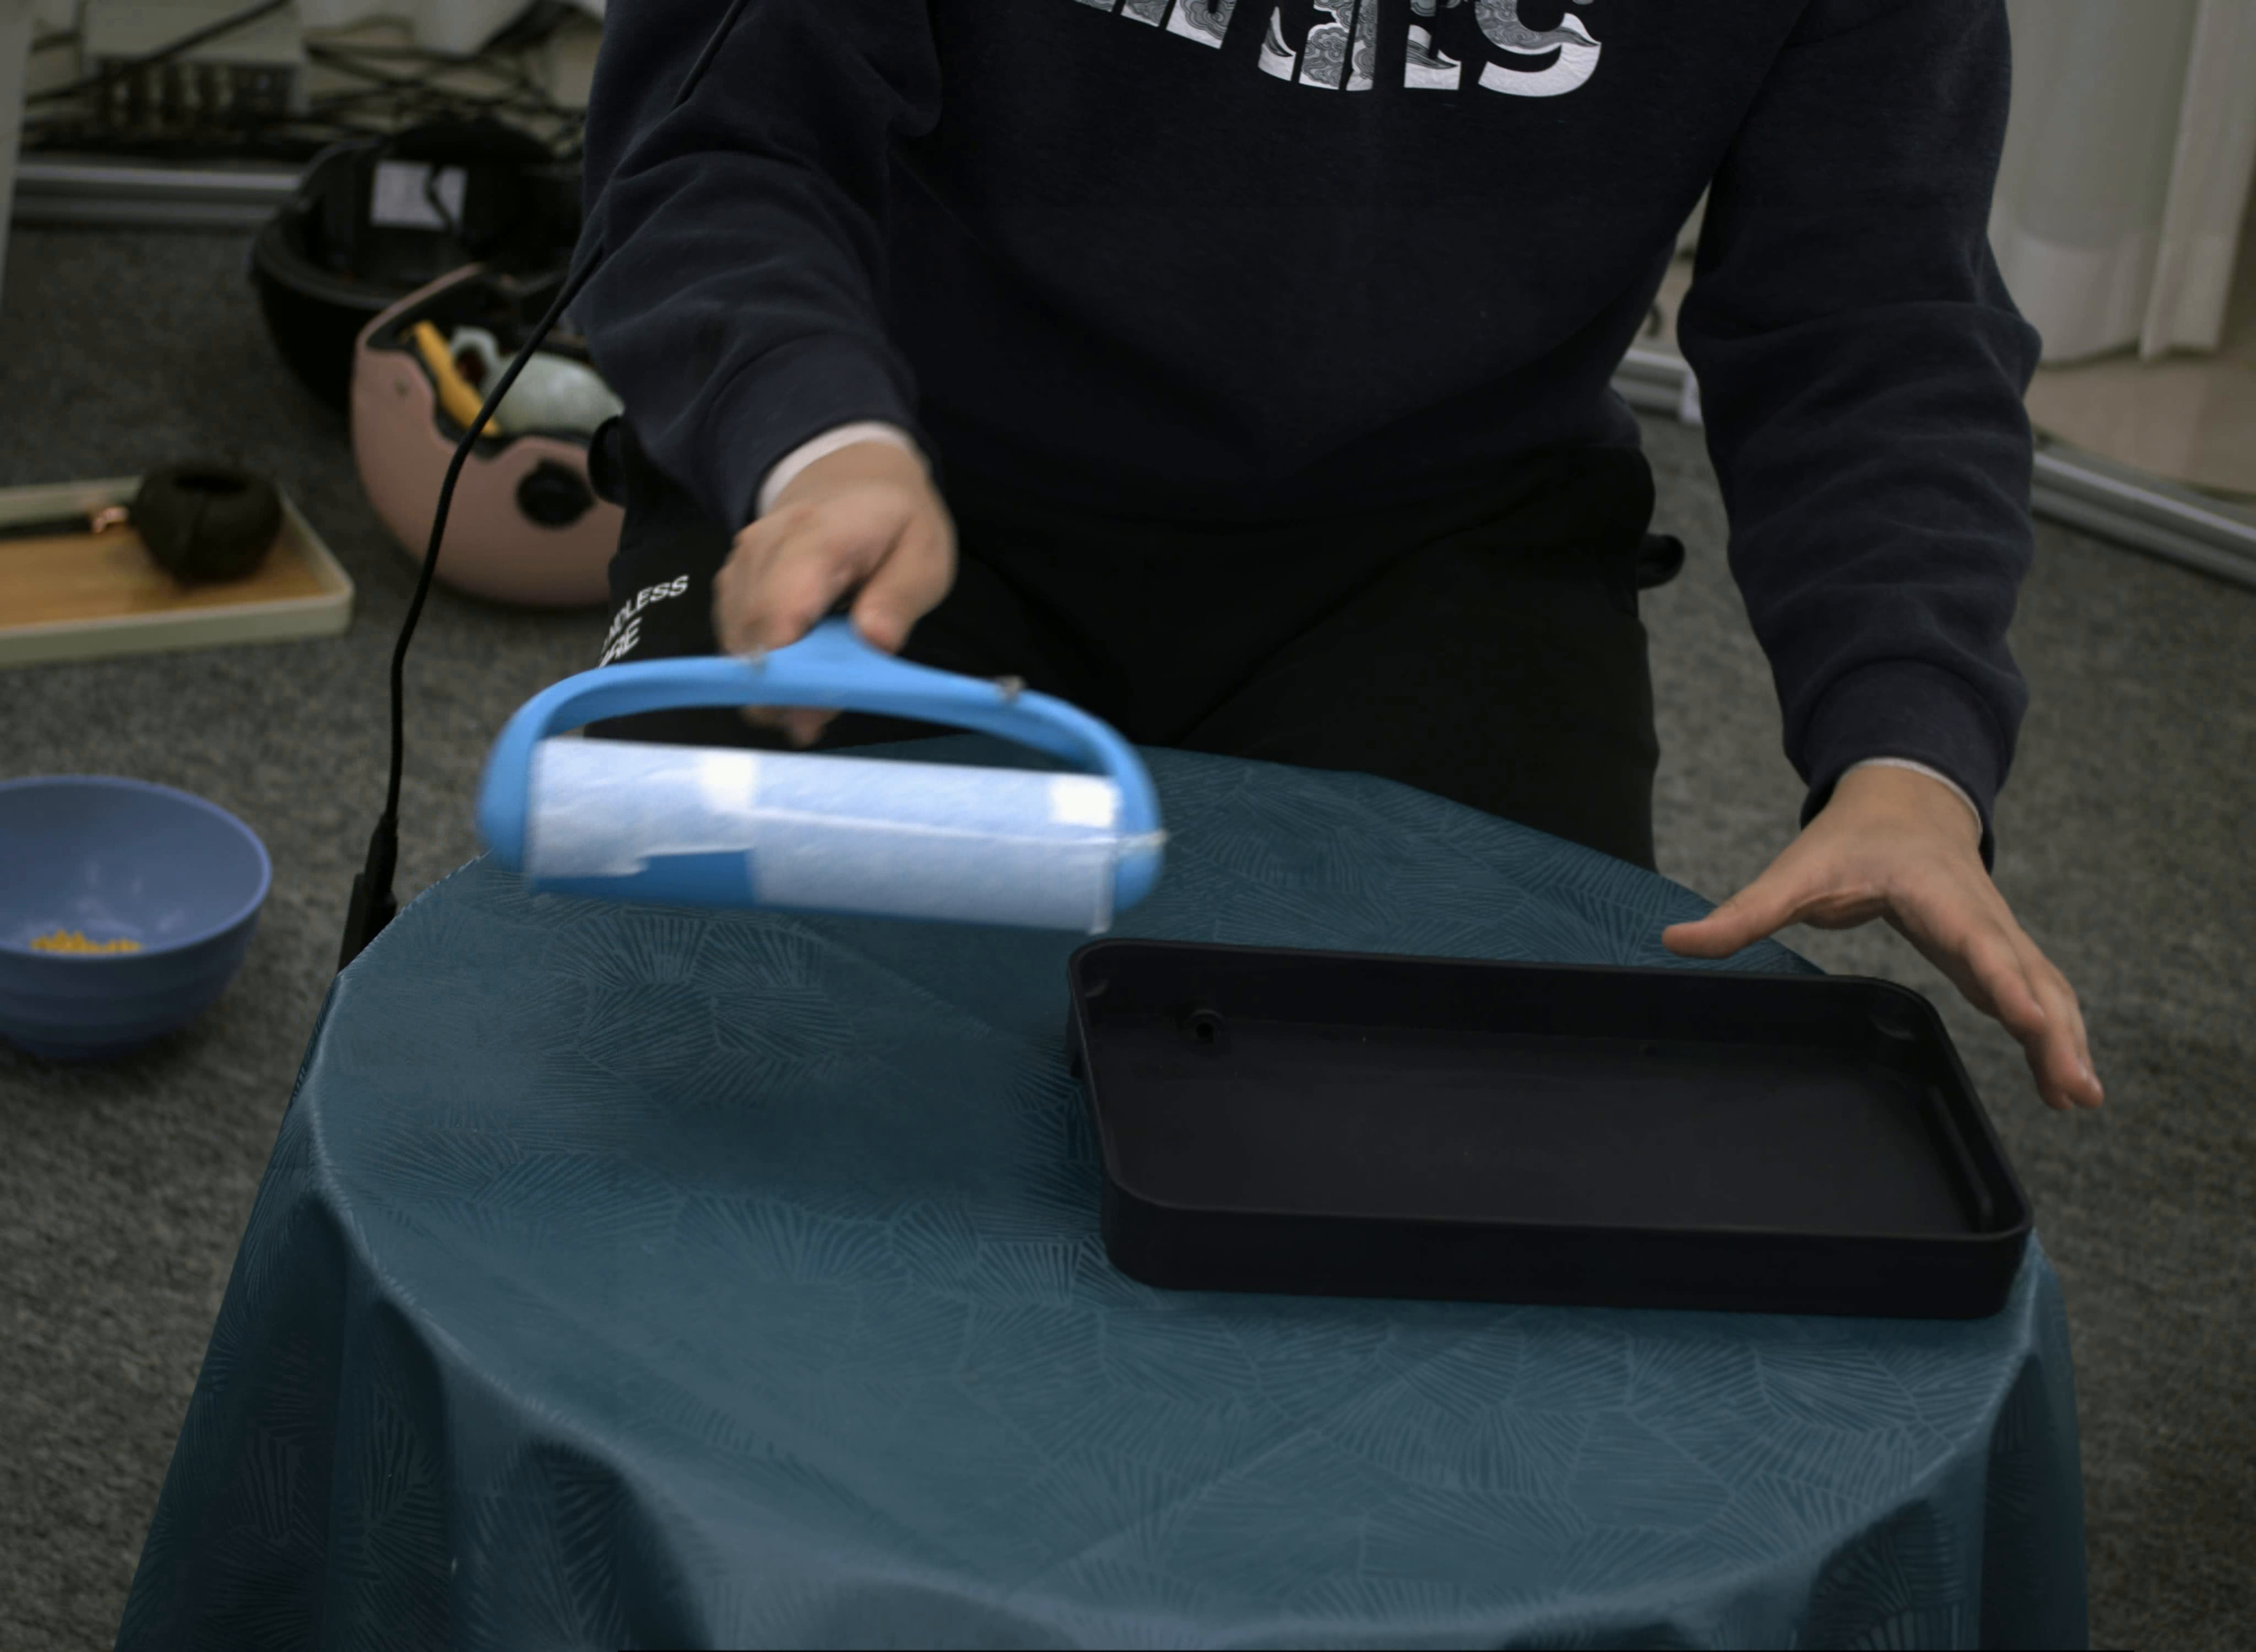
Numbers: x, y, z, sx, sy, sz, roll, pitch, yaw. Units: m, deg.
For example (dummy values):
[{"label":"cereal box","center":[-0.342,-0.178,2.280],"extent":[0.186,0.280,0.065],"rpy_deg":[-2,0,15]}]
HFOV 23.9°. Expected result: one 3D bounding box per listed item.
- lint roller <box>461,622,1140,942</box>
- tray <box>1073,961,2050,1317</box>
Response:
[{"label":"lint roller","center":[-0.112,-0.031,1.836],"extent":[0.228,0.067,0.182],"rpy_deg":[1,38,-3]},{"label":"tray","center":[0.144,0.107,1.842],"extent":[0.316,0.037,0.185],"rpy_deg":[0,27,-8]}]
